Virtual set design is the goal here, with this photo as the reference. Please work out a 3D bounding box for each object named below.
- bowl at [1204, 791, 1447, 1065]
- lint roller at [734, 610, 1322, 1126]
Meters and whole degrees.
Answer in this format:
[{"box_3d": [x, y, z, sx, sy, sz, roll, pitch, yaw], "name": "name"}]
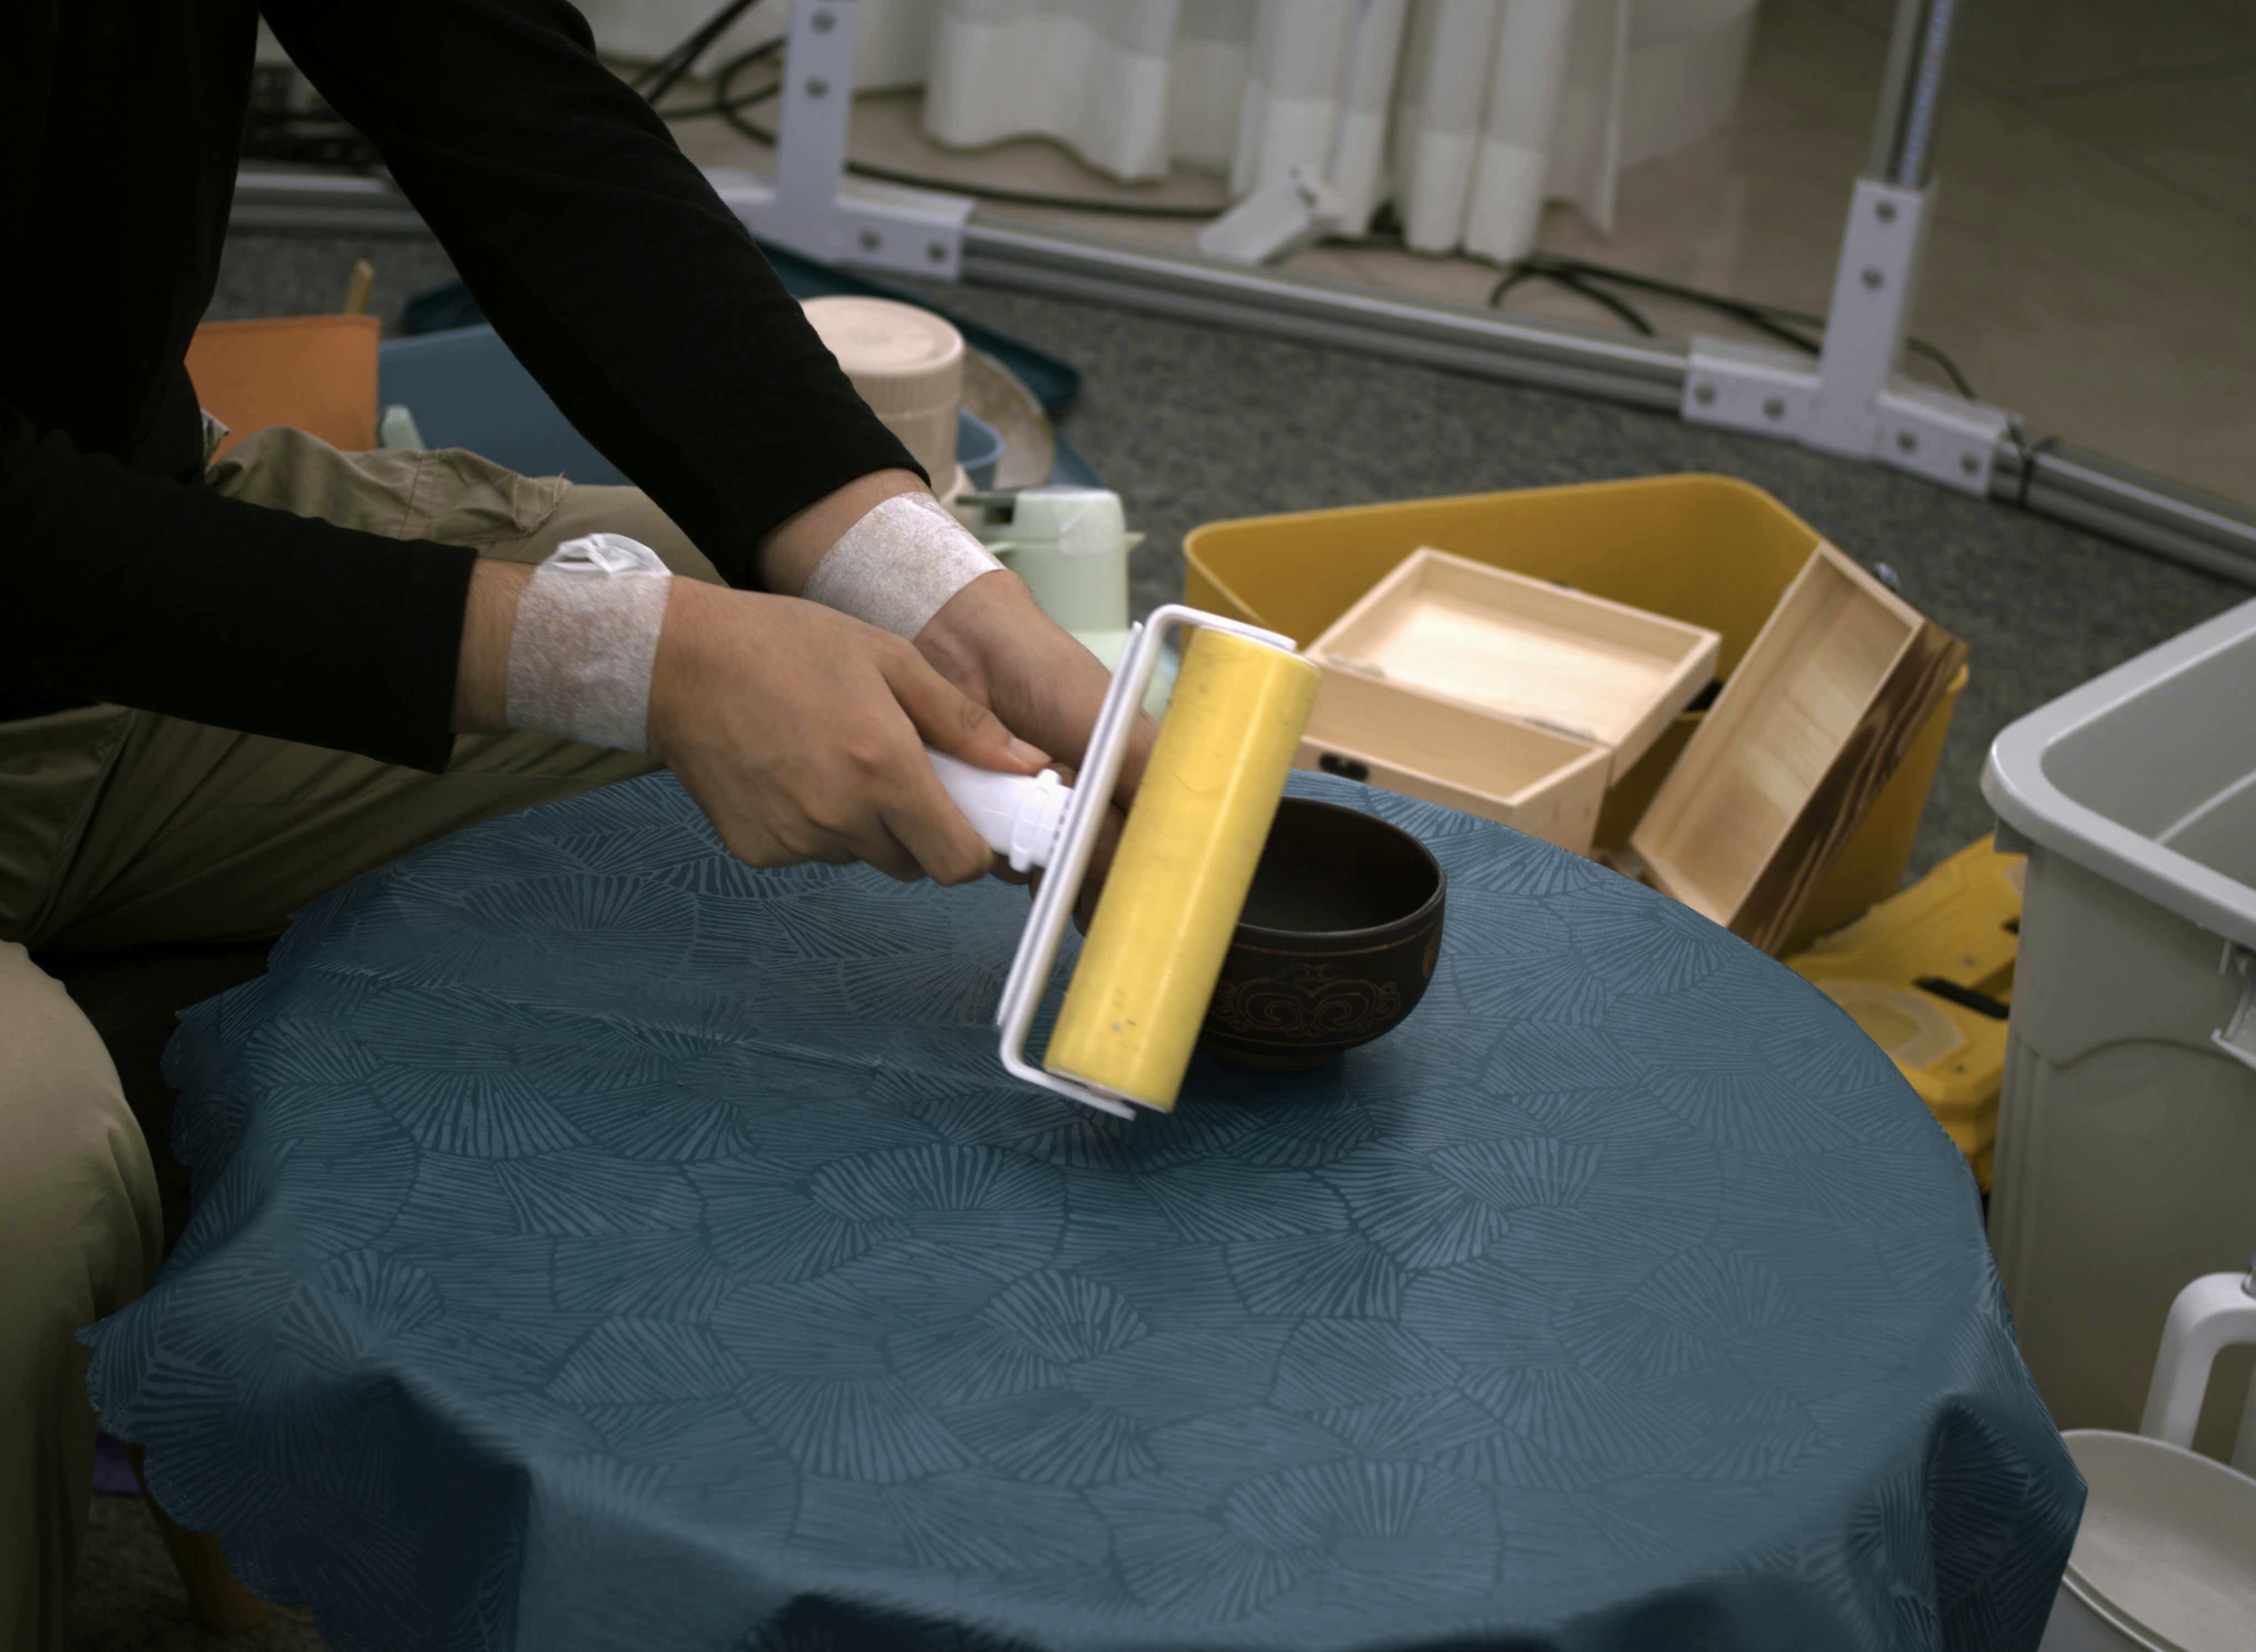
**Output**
[{"box_3d": [0.052, 0.042, 1.891, 0.117, 0.069, 0.118, 5, 24, -2], "name": "bowl"}, {"box_3d": [-0.048, -0.004, 1.830, 0.192, 0.175, 0.051, 17, -5, 8], "name": "lint roller"}]
